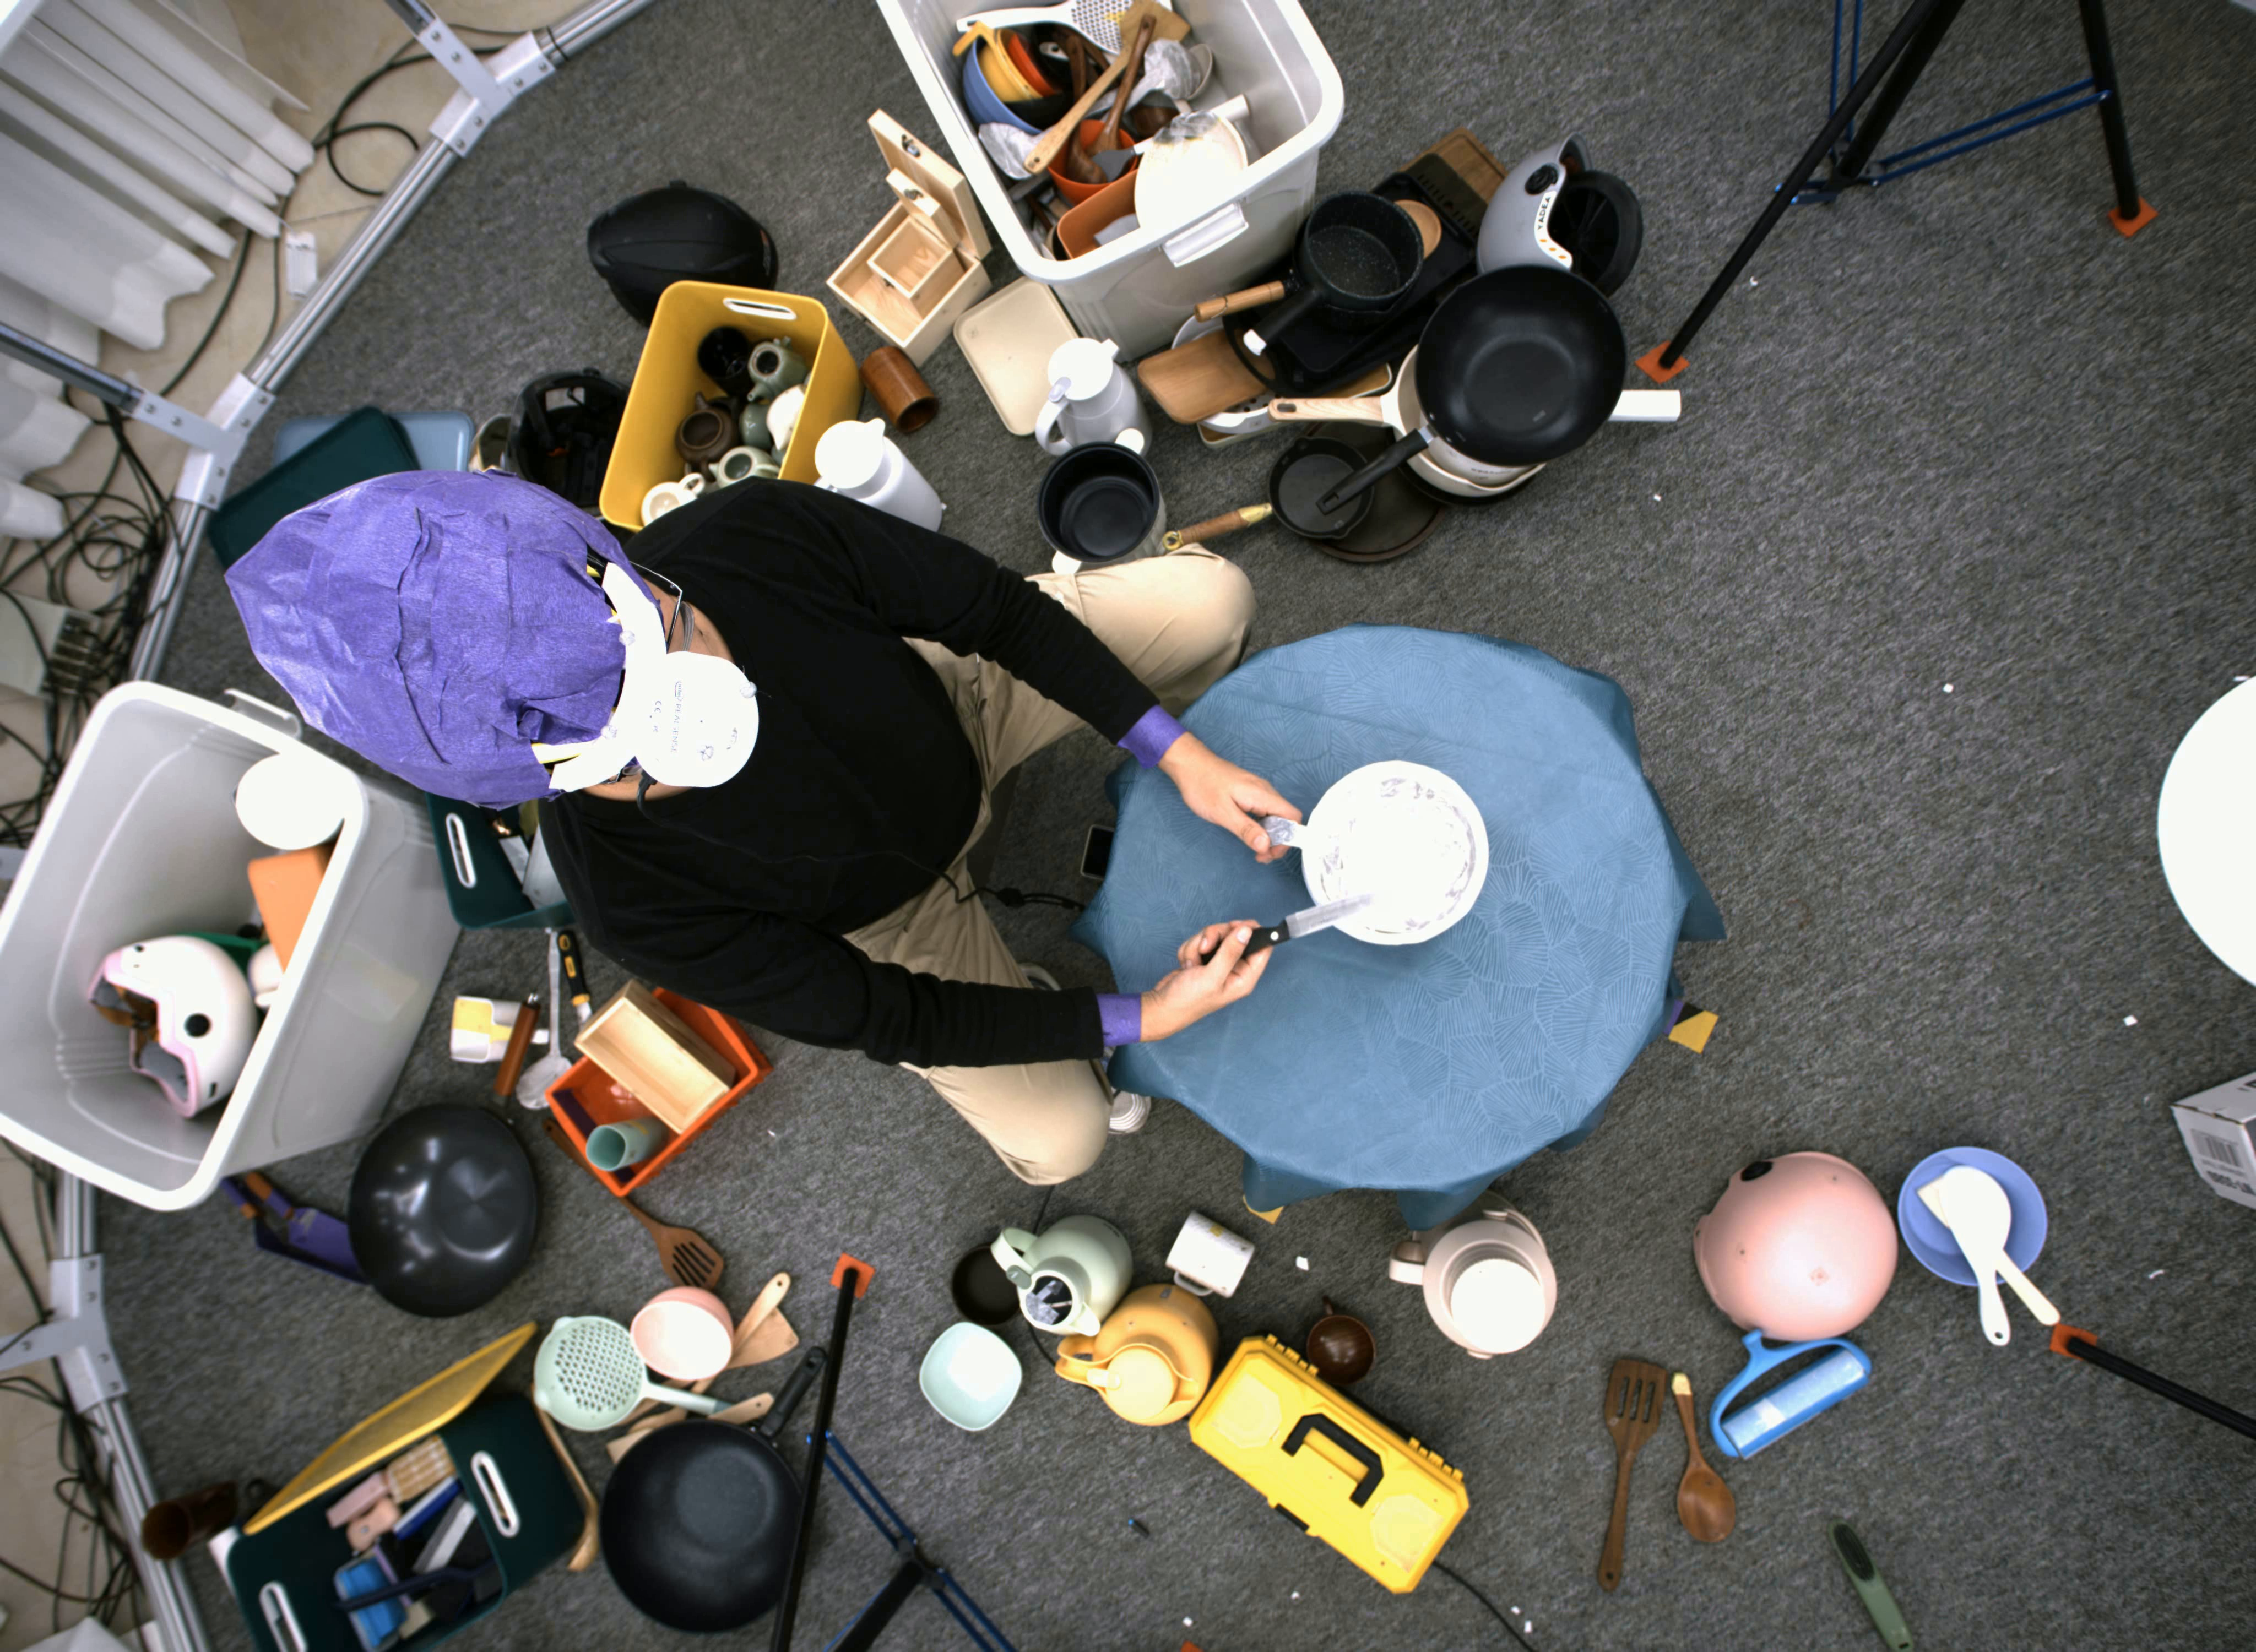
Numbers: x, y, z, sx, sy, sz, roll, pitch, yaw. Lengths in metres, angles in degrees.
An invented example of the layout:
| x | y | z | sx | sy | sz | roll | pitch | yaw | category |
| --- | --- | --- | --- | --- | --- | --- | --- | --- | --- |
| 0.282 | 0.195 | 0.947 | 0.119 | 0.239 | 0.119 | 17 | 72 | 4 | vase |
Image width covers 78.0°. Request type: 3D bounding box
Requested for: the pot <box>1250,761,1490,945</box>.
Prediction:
| x | y | z | sx | sy | sz | roll | pitch | yaw | category |
| --- | --- | --- | --- | --- | --- | --- | --- | --- | --- |
| 0.238 | 0.025 | 1.393 | 0.234 | 0.137 | 0.178 | 10 | 87 | 7 | pot |

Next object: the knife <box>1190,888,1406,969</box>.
| x | y | z | sx | sy | sz | roll | pitch | yaw | category |
| --- | --- | --- | --- | --- | --- | --- | --- | --- | --- |
| 0.163 | 0.100 | 1.349 | 0.242 | 0.016 | 0.024 | -22 | 83 | 30 | knife |
